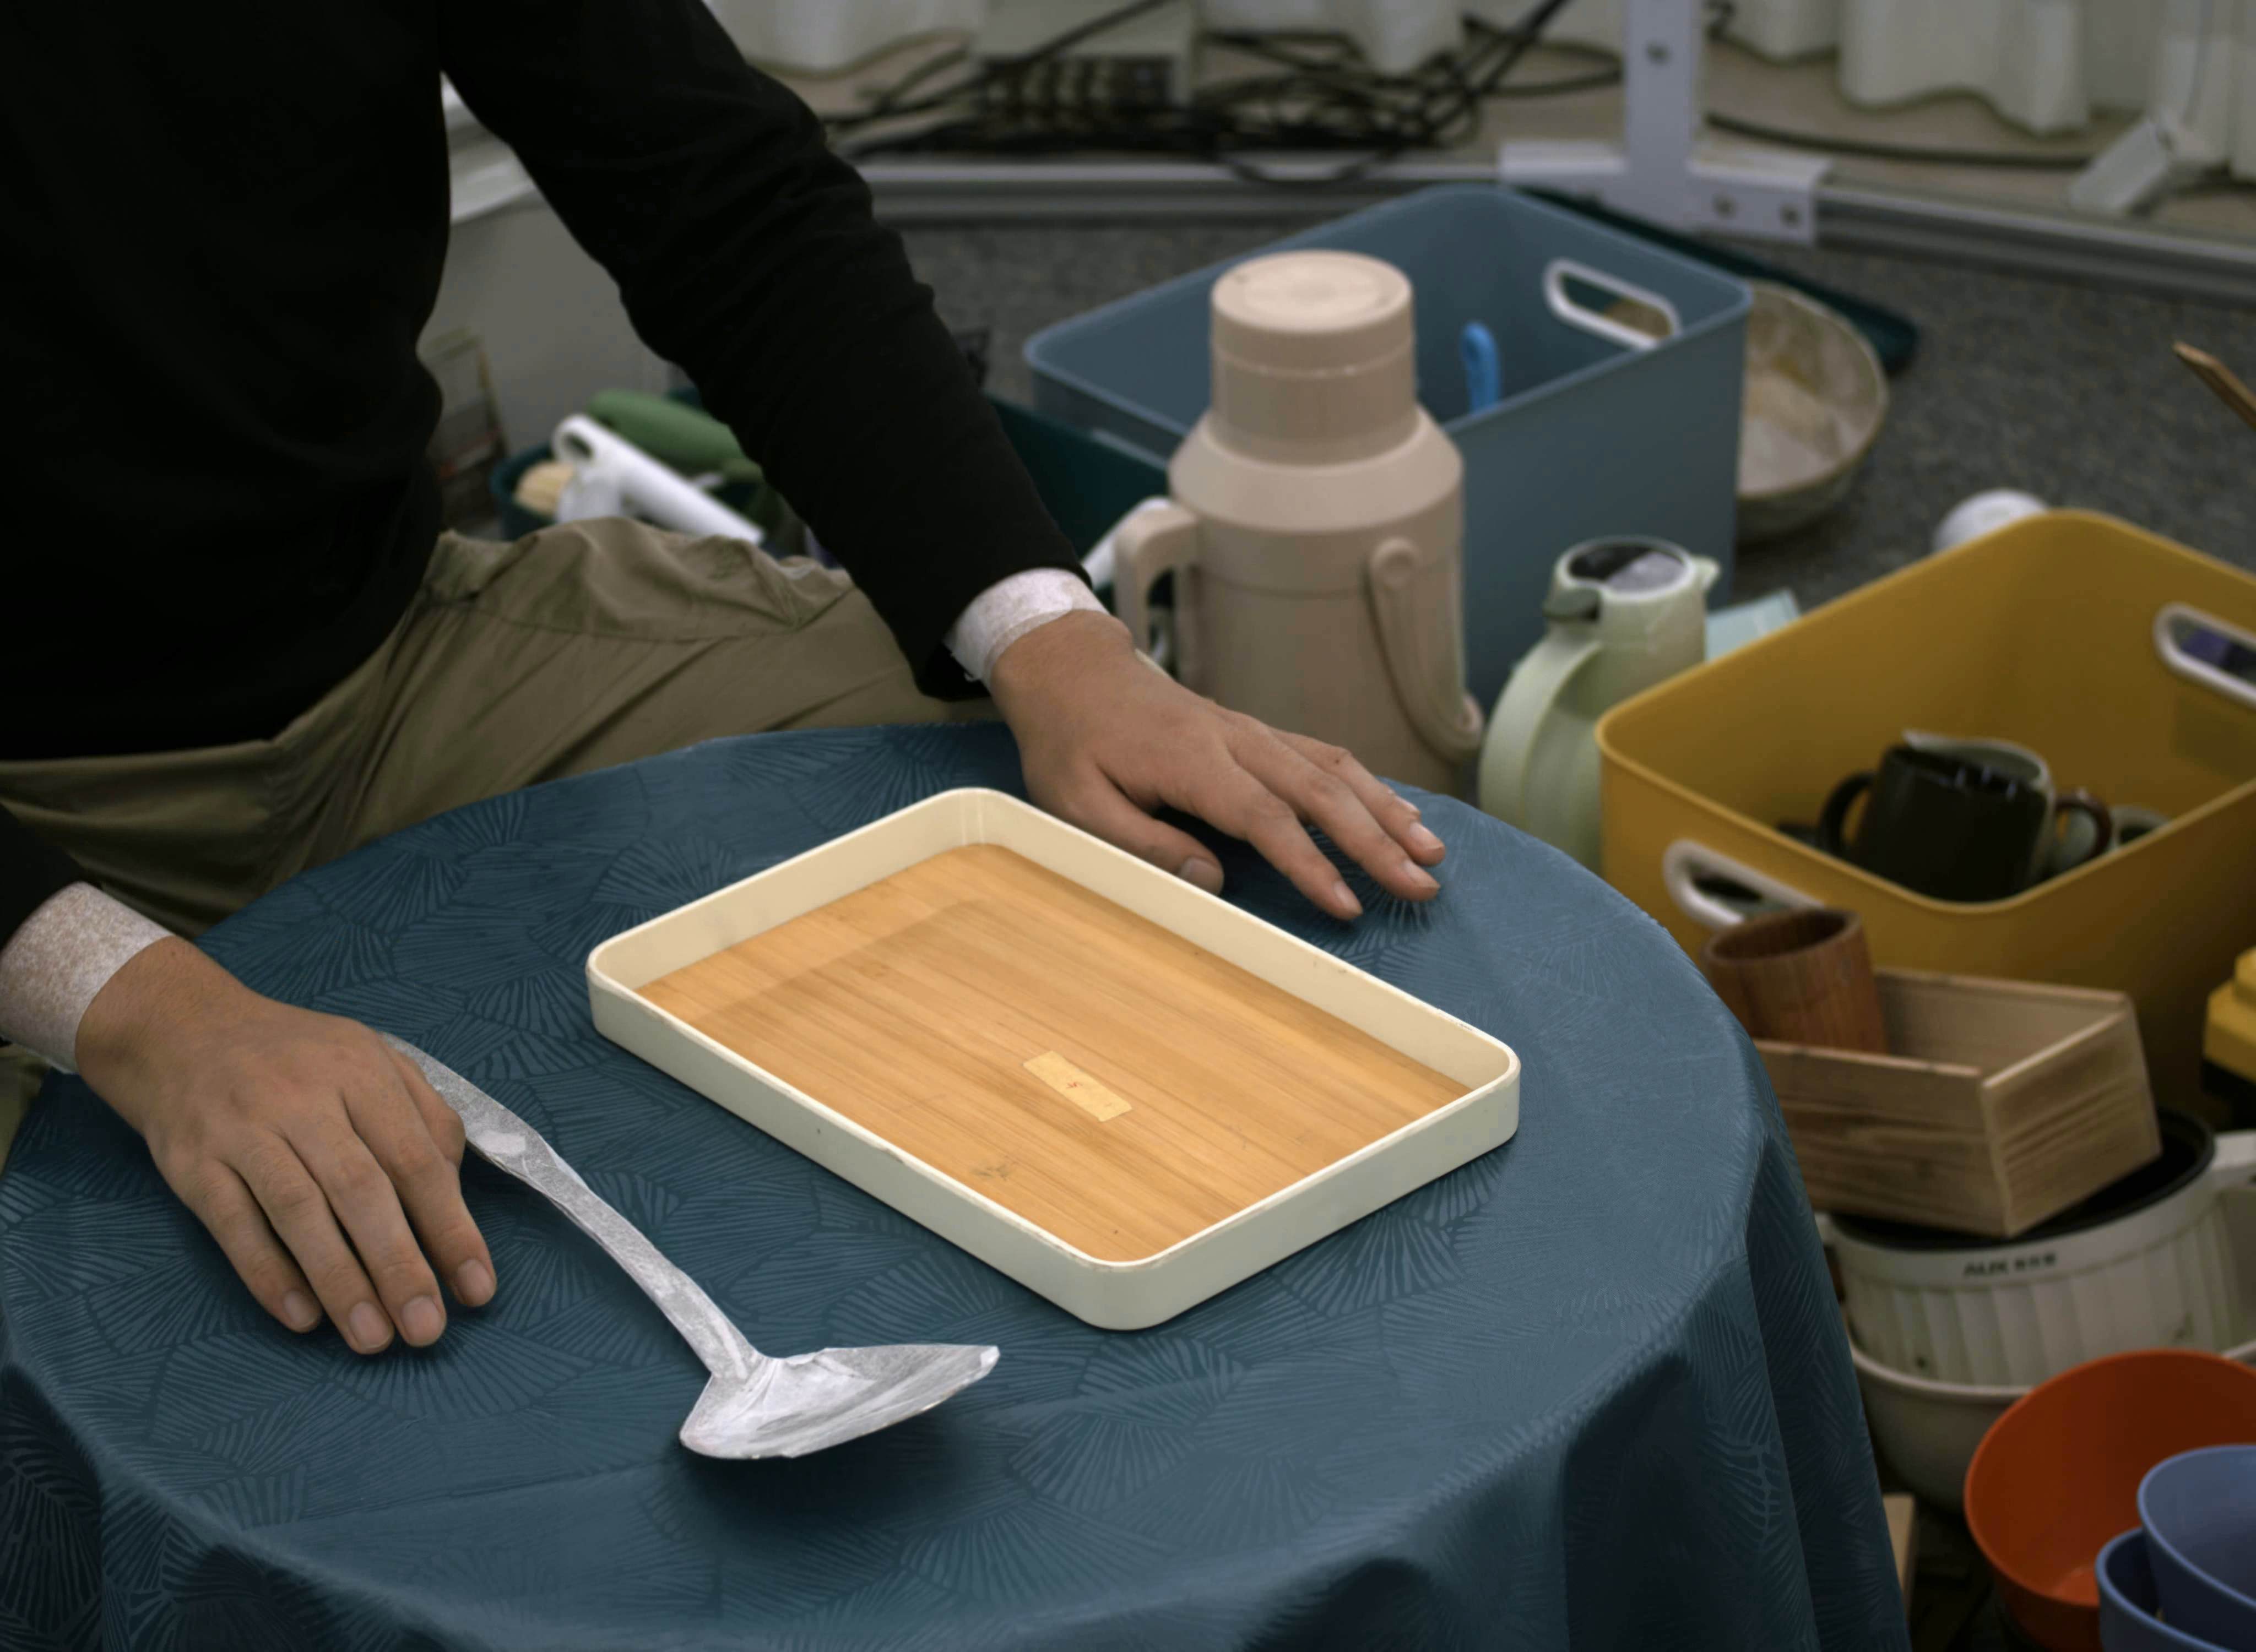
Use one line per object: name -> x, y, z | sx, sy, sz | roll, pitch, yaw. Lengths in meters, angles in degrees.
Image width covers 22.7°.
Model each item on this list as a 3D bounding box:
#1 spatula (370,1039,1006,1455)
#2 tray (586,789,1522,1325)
spatula -> -0.167, 0.128, 1.824 | 0.099, 0.044, 0.366 | -20, 32, -28
tray -> -0.029, 0.074, 1.927 | 0.193, 0.027, 0.300 | -24, 34, -34
